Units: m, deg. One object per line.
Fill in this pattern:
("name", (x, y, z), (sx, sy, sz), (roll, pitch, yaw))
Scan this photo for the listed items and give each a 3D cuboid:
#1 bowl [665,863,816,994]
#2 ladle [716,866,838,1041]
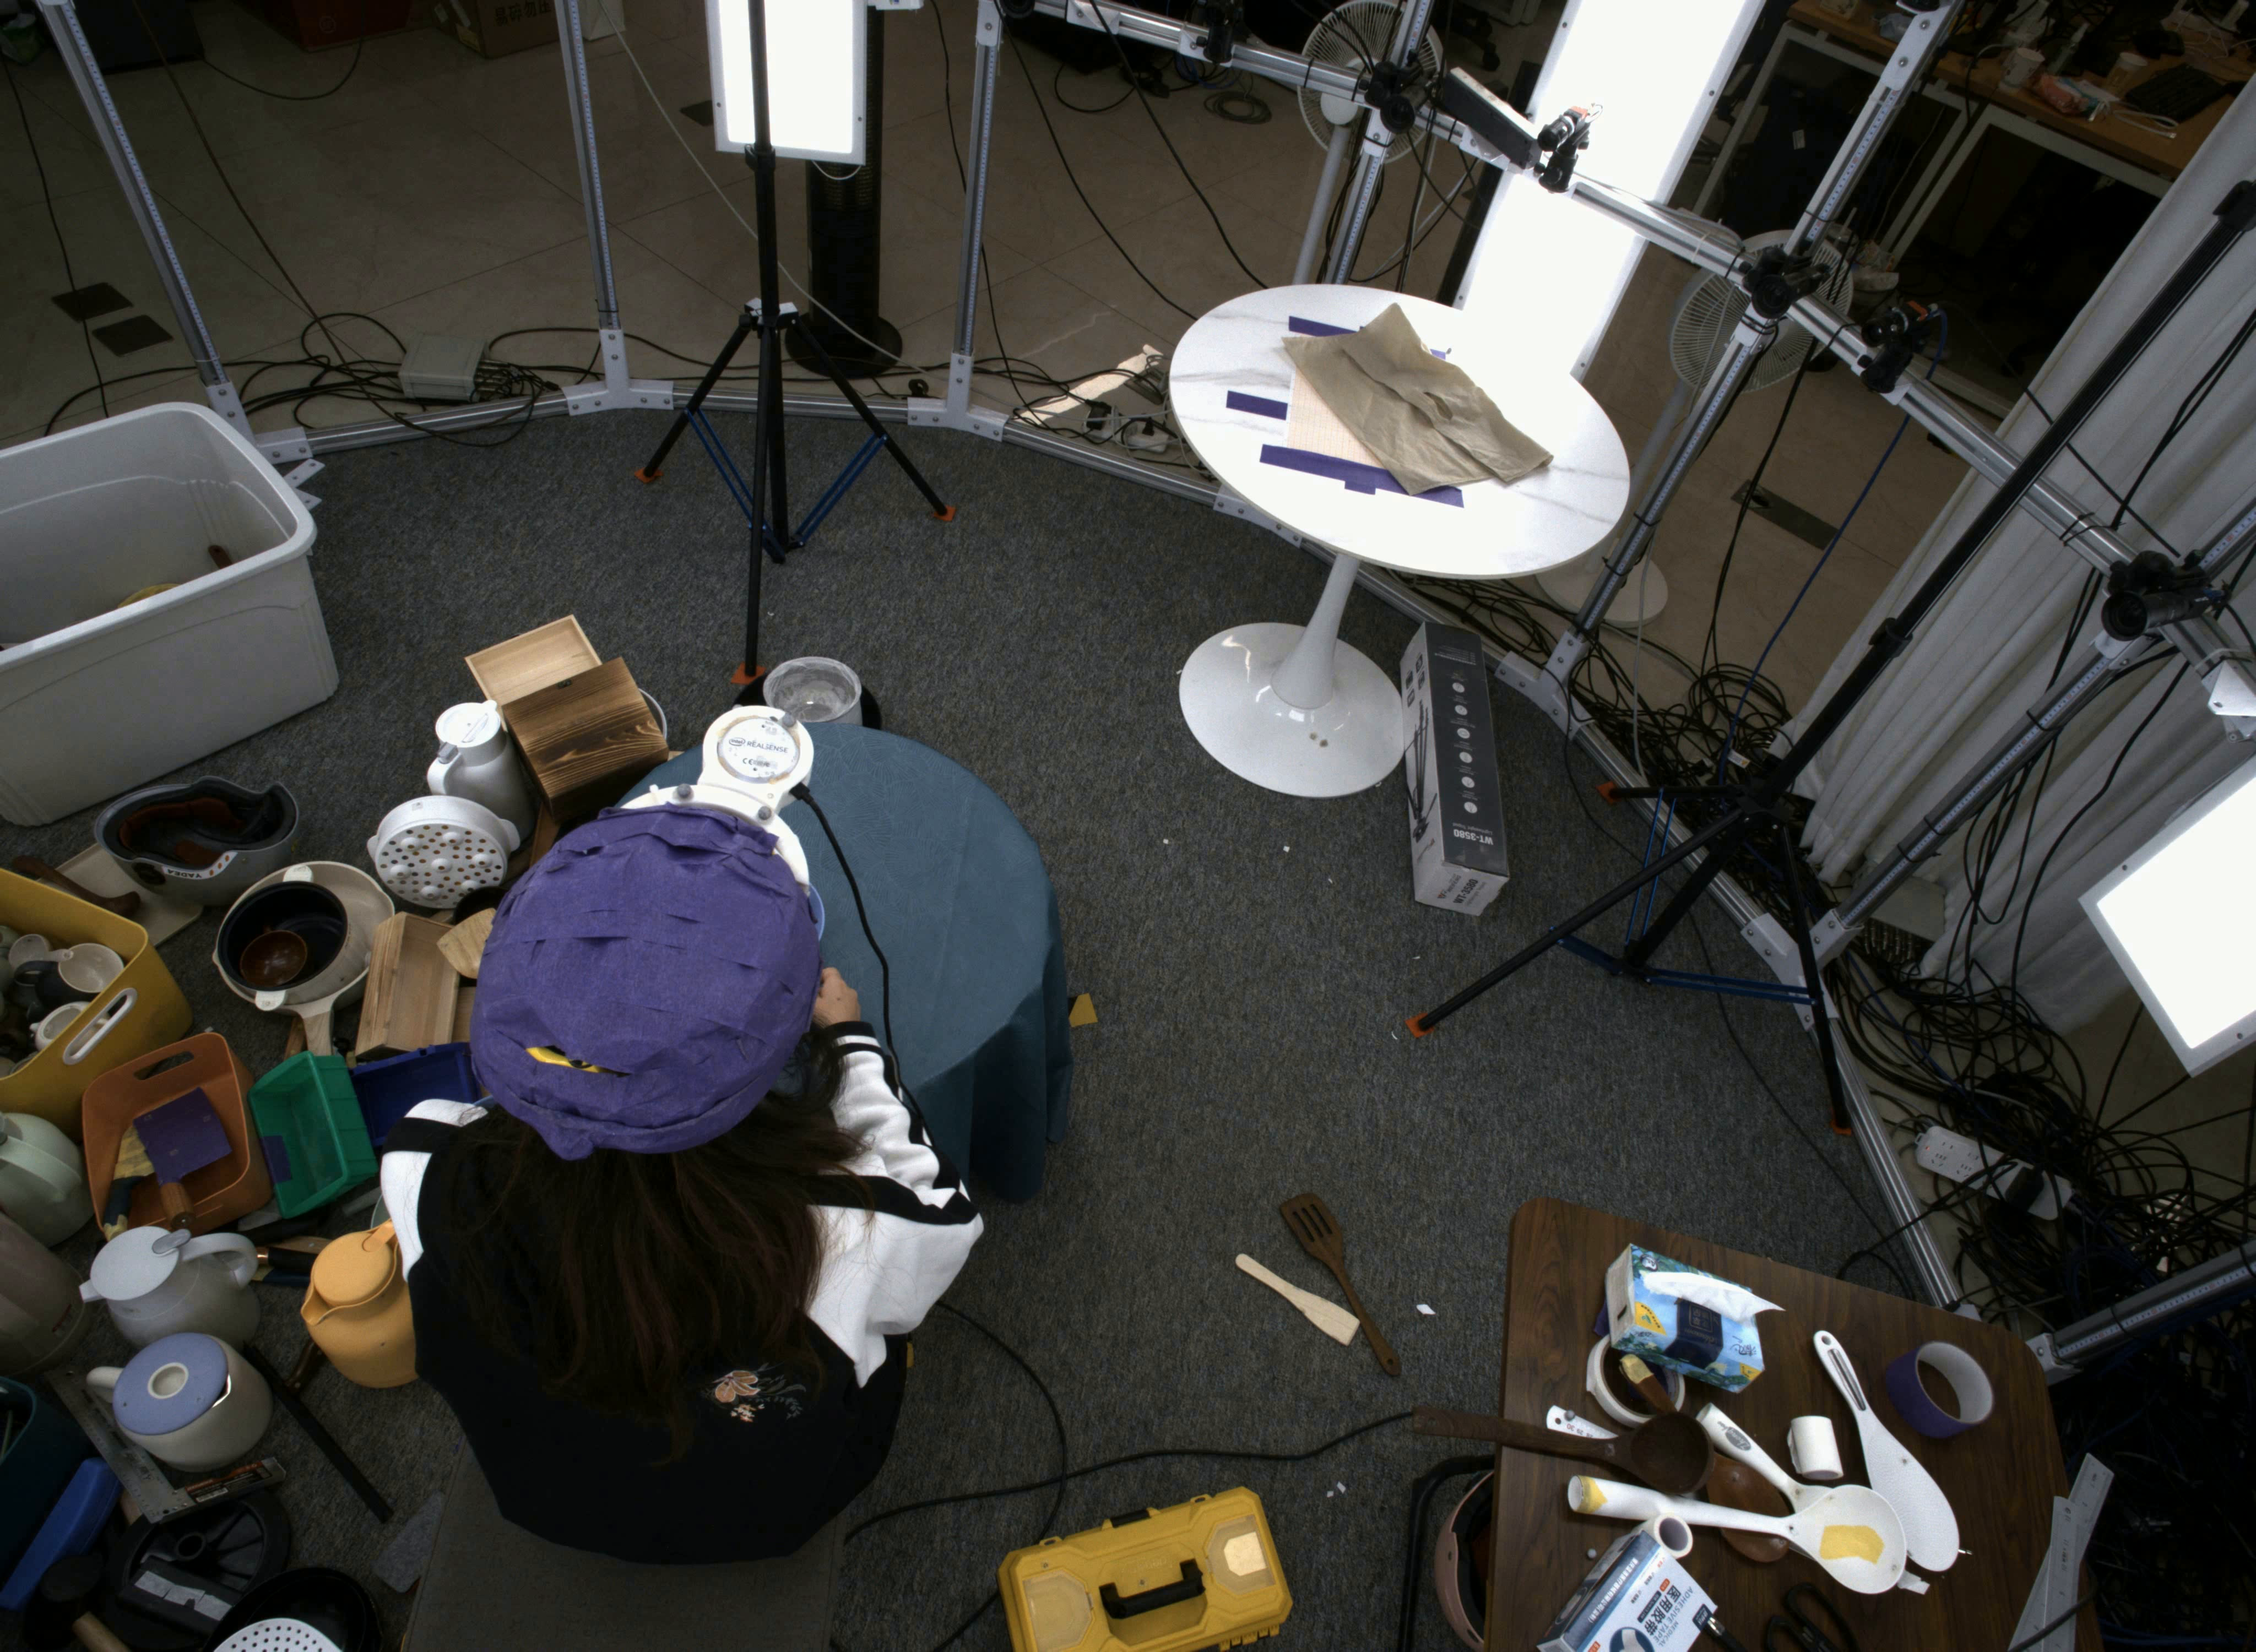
("bowl", (-0.465, 0.132, 1.564), (0.175, 0.072, 0.173), (7, 52, -8))
("ladle", (-0.397, 0.138, 1.469), (0.072, 0.075, 0.245), (-34, 51, -13))
